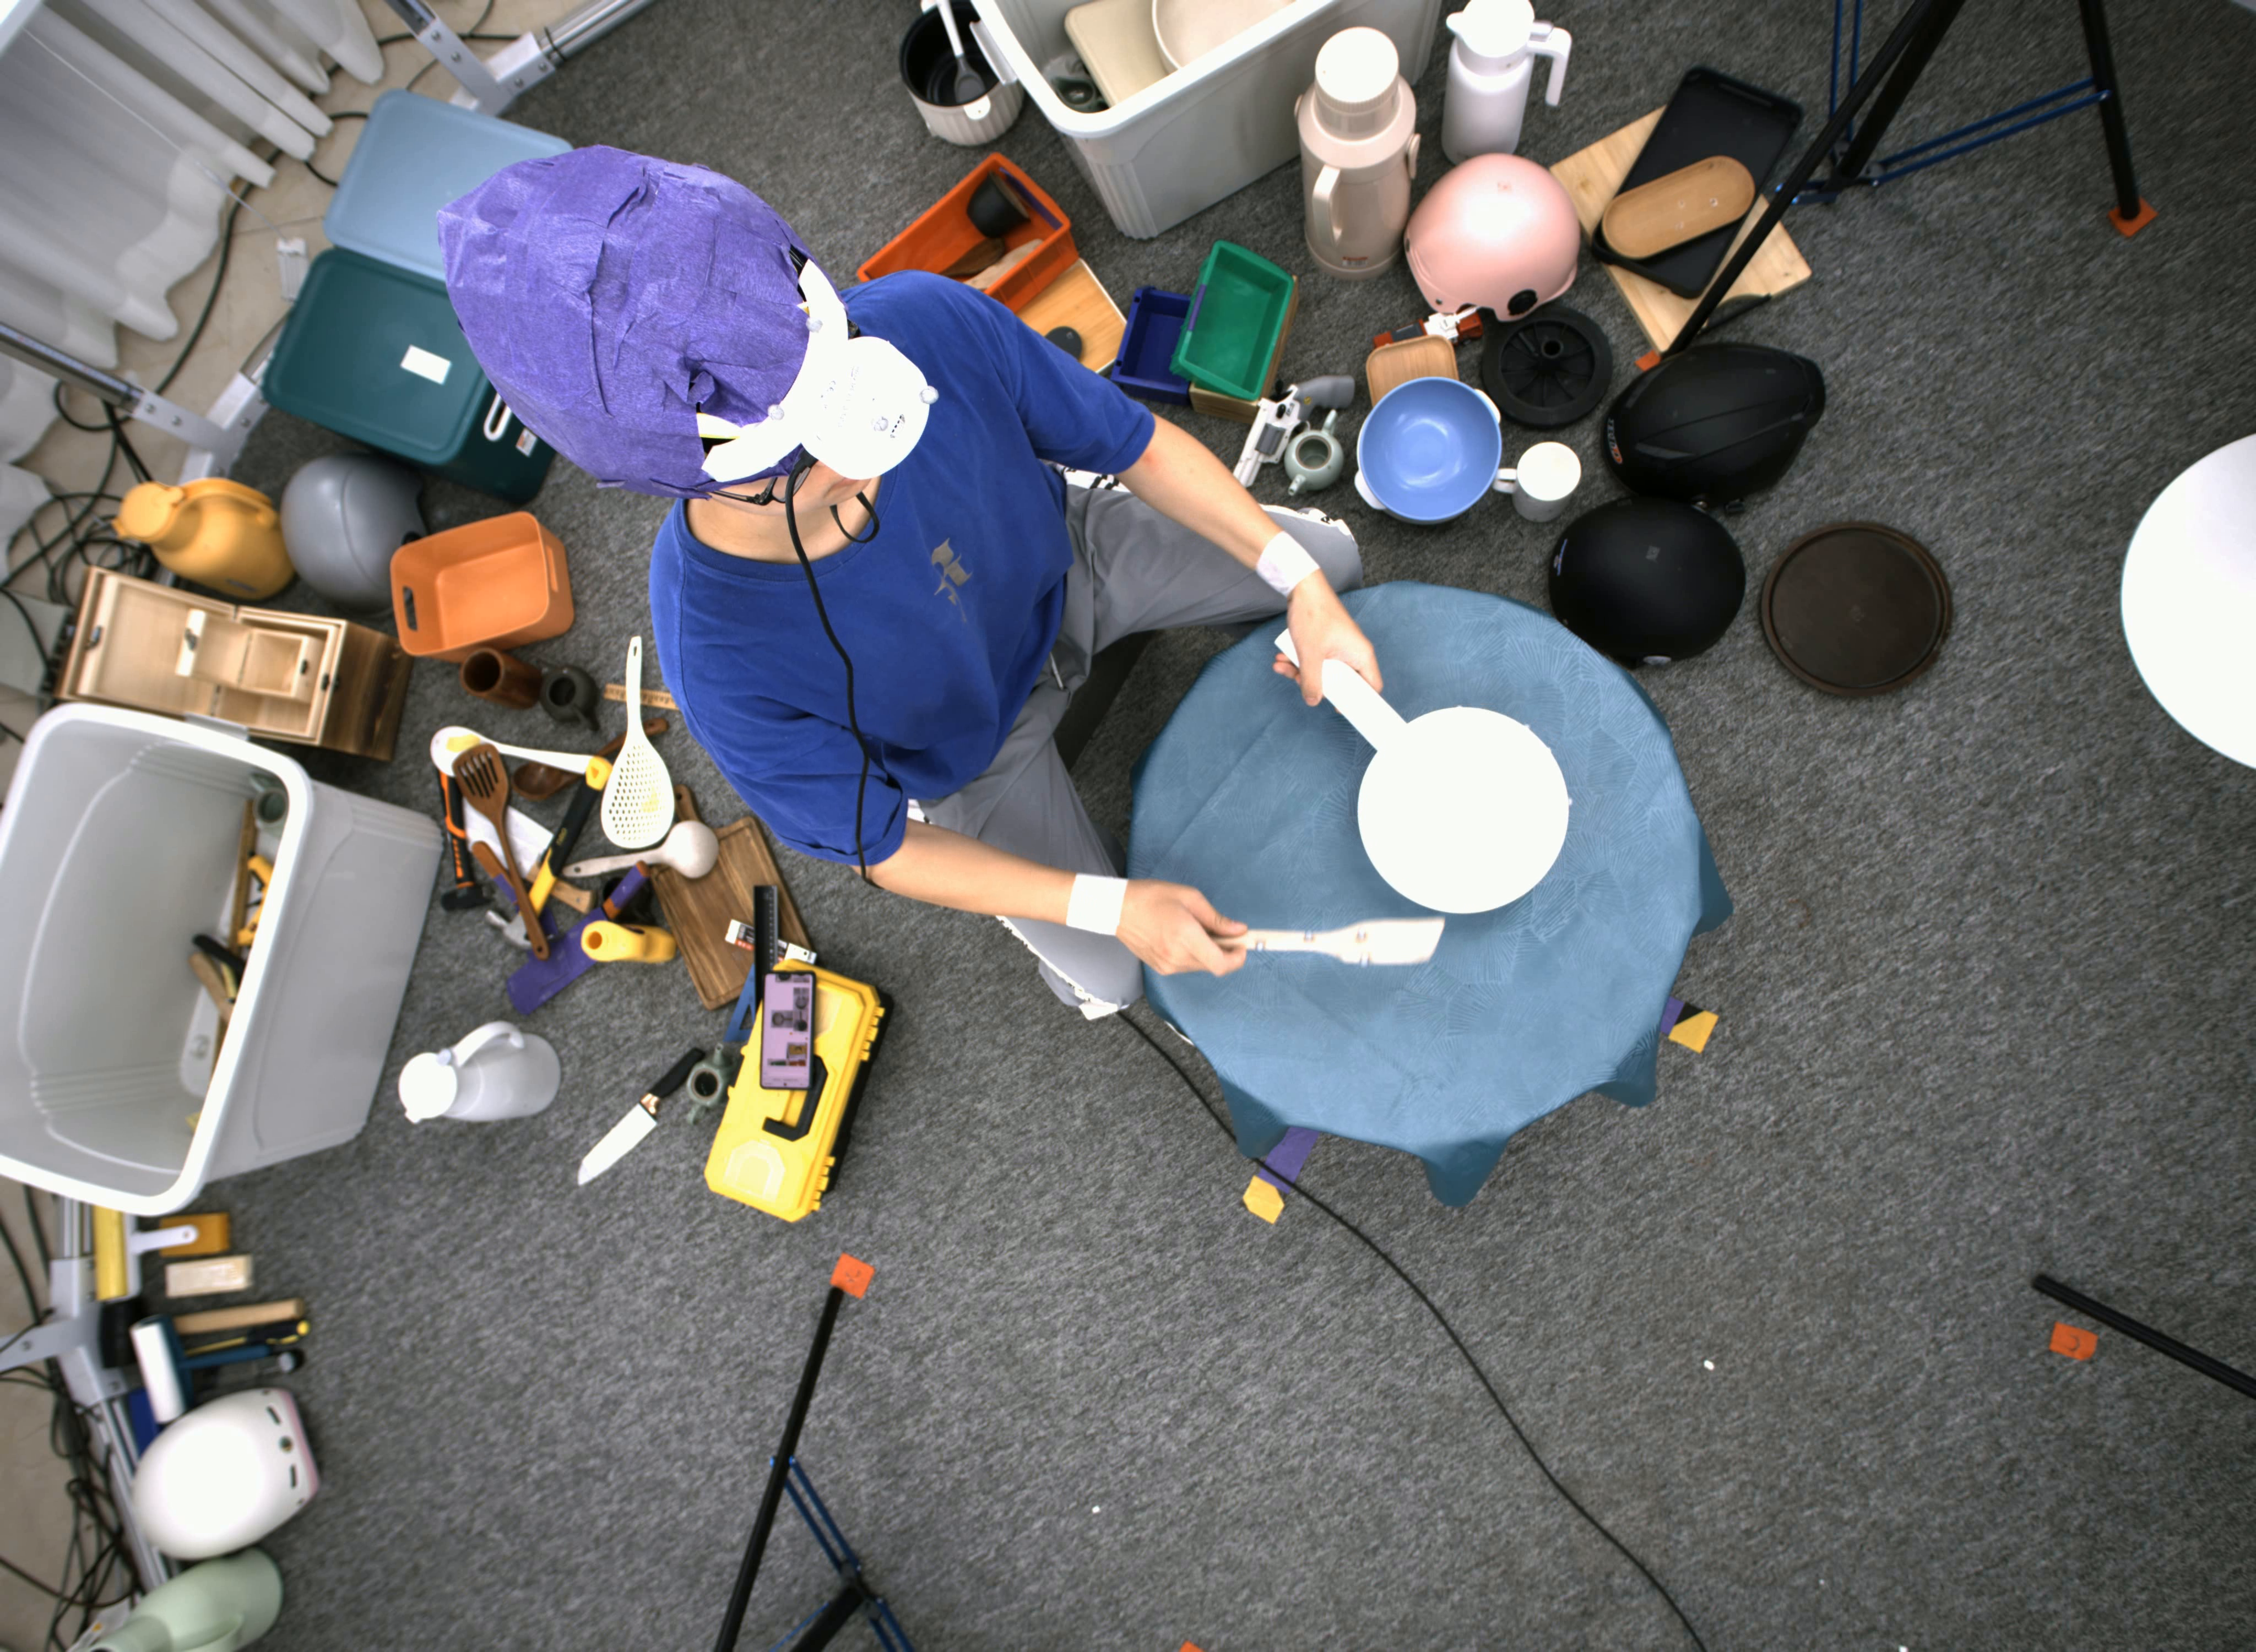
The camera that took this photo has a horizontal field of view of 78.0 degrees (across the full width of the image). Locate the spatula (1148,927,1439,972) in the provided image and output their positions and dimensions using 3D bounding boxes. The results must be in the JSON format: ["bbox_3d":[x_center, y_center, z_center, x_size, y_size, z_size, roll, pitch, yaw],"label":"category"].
[{"bbox_3d":[0.155,0.115,1.359,0.295,0.070,0.011,0,119,25],"label":"spatula"}]

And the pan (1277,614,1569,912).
[{"bbox_3d":[0.290,-0.074,1.404,0.203,0.101,0.353,-45,81,15],"label":"pan"}]
